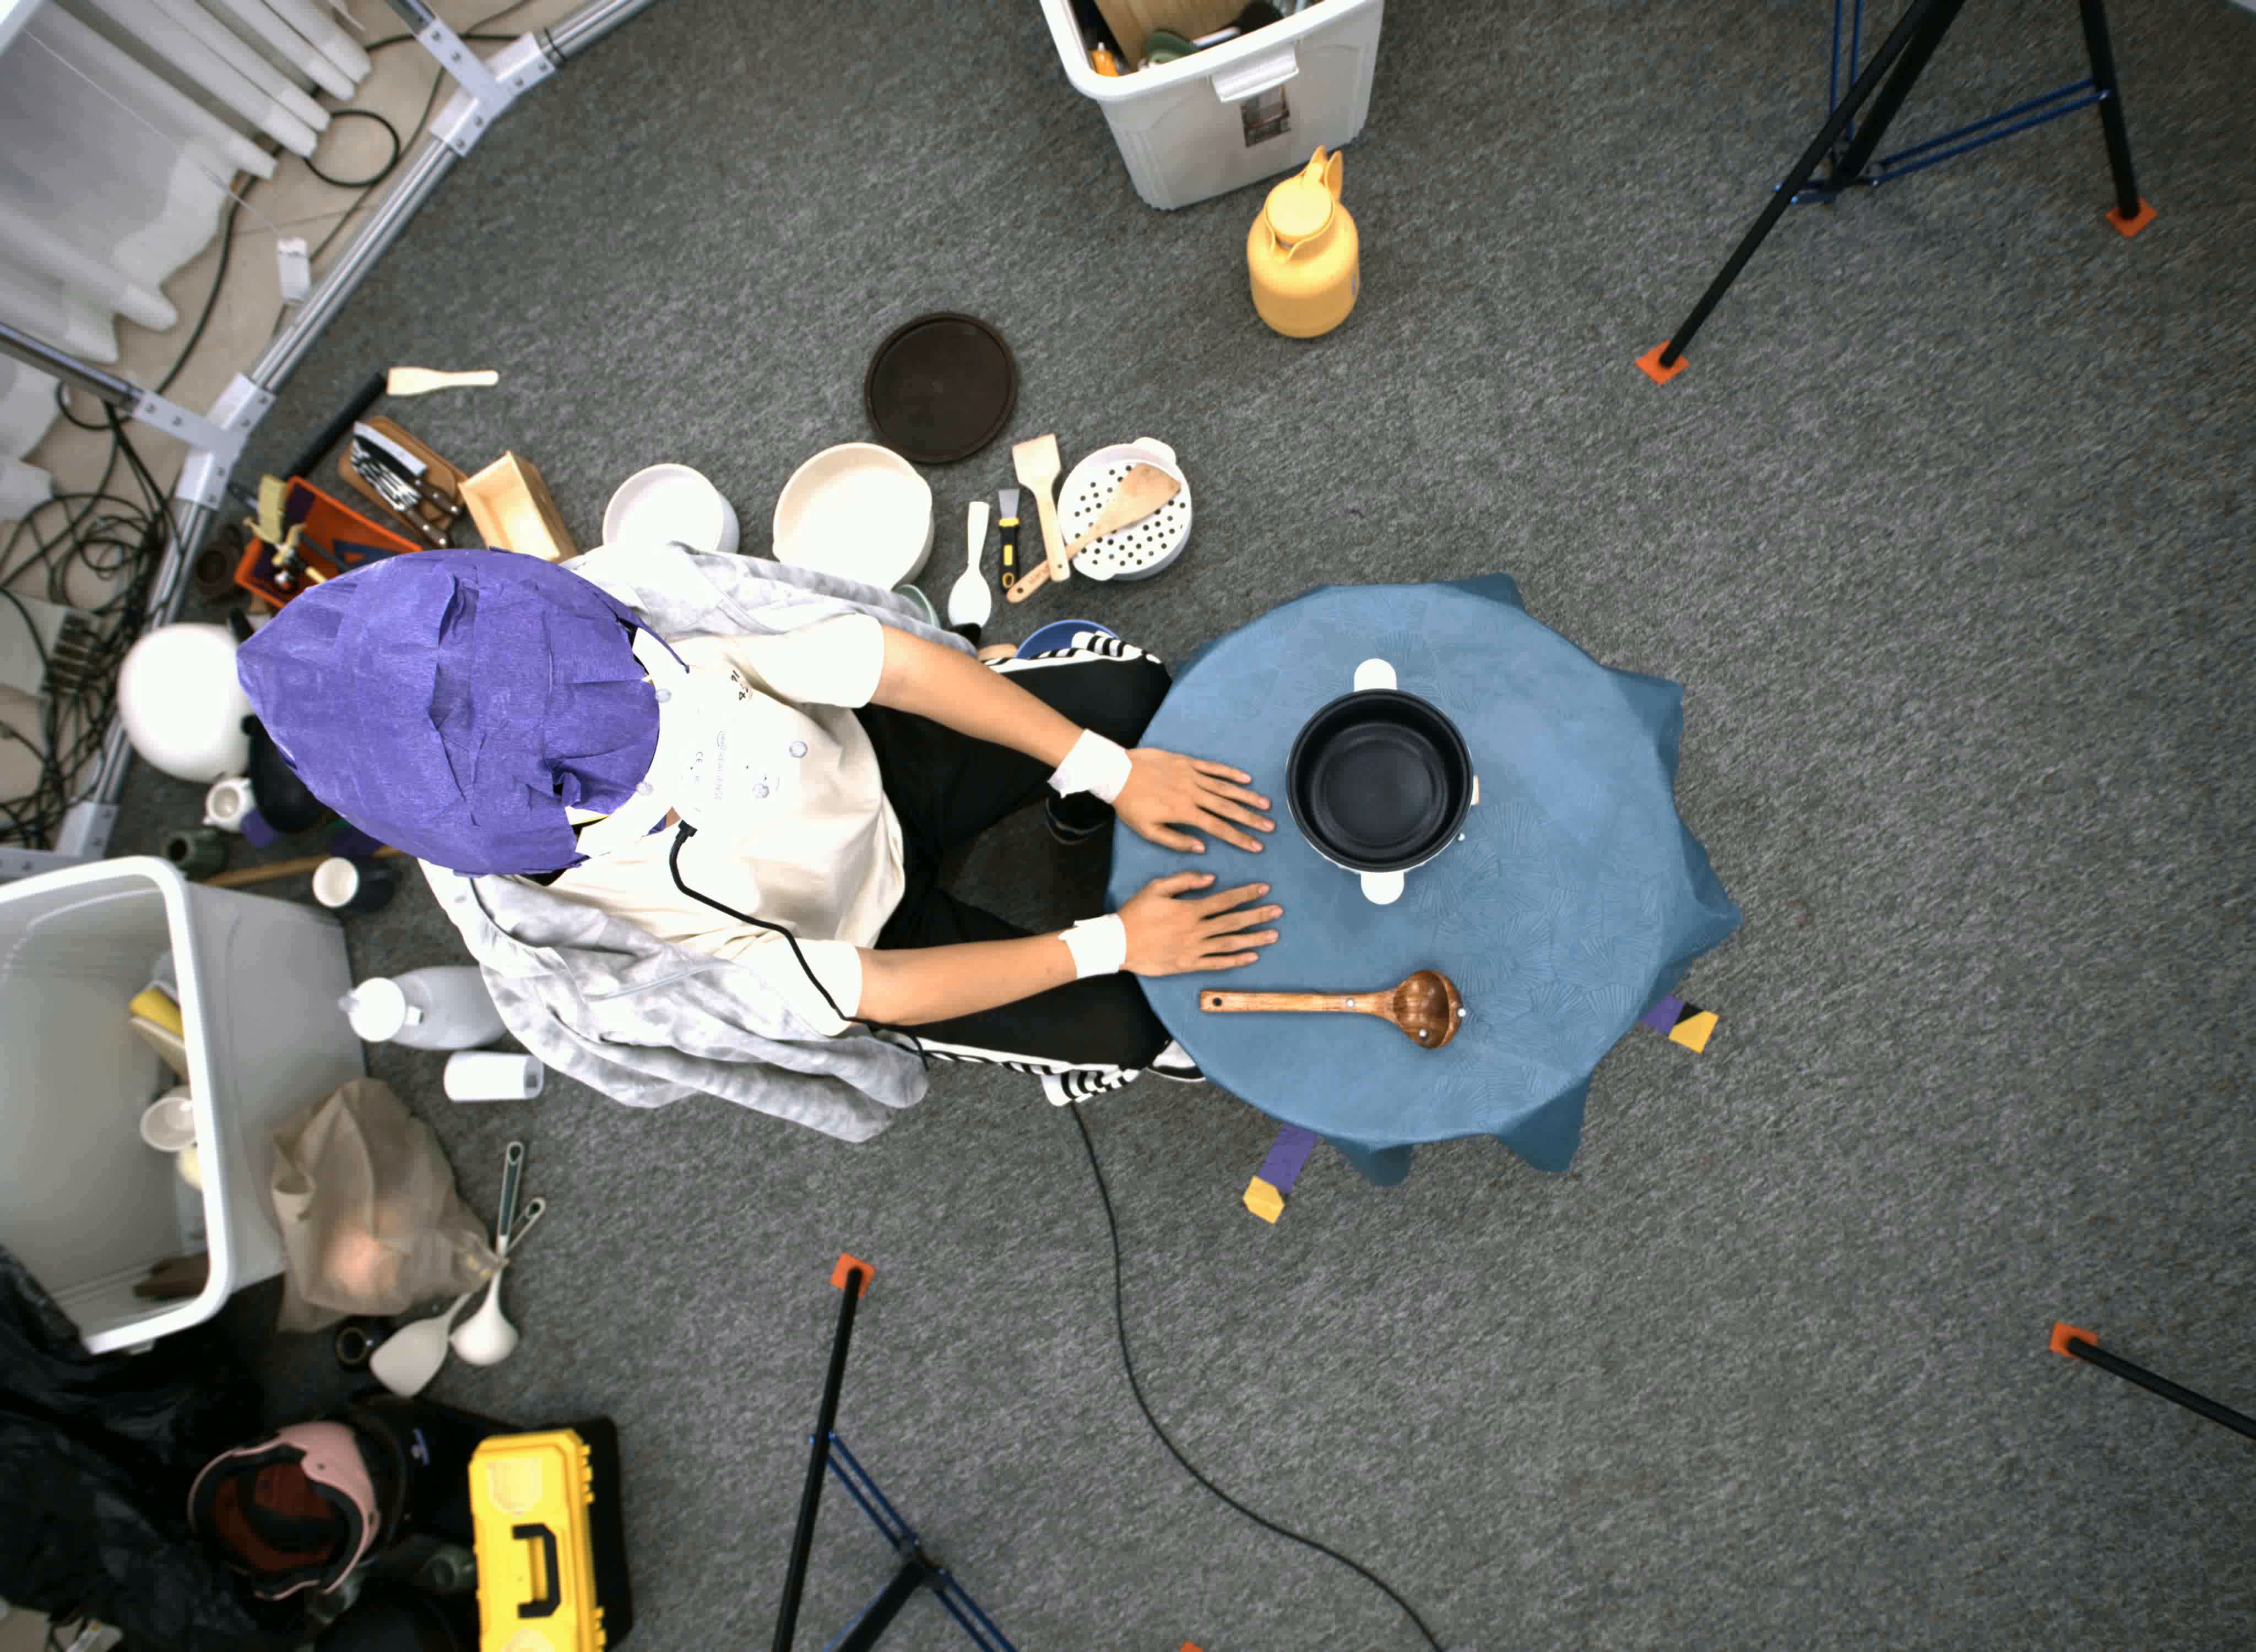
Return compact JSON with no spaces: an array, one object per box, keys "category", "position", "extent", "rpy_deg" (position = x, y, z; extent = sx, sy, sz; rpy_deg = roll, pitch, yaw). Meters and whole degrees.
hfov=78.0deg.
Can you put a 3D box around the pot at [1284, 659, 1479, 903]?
[{"category":"pot","position":[0.259,-0.041,1.396],"extent":[0.191,0.142,0.239],"rpy_deg":[-3,87,13]}]

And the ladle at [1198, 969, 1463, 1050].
[{"category":"ladle","position":[0.204,0.182,1.426],"extent":[0.275,0.076,0.082],"rpy_deg":[2,89,10]}]
